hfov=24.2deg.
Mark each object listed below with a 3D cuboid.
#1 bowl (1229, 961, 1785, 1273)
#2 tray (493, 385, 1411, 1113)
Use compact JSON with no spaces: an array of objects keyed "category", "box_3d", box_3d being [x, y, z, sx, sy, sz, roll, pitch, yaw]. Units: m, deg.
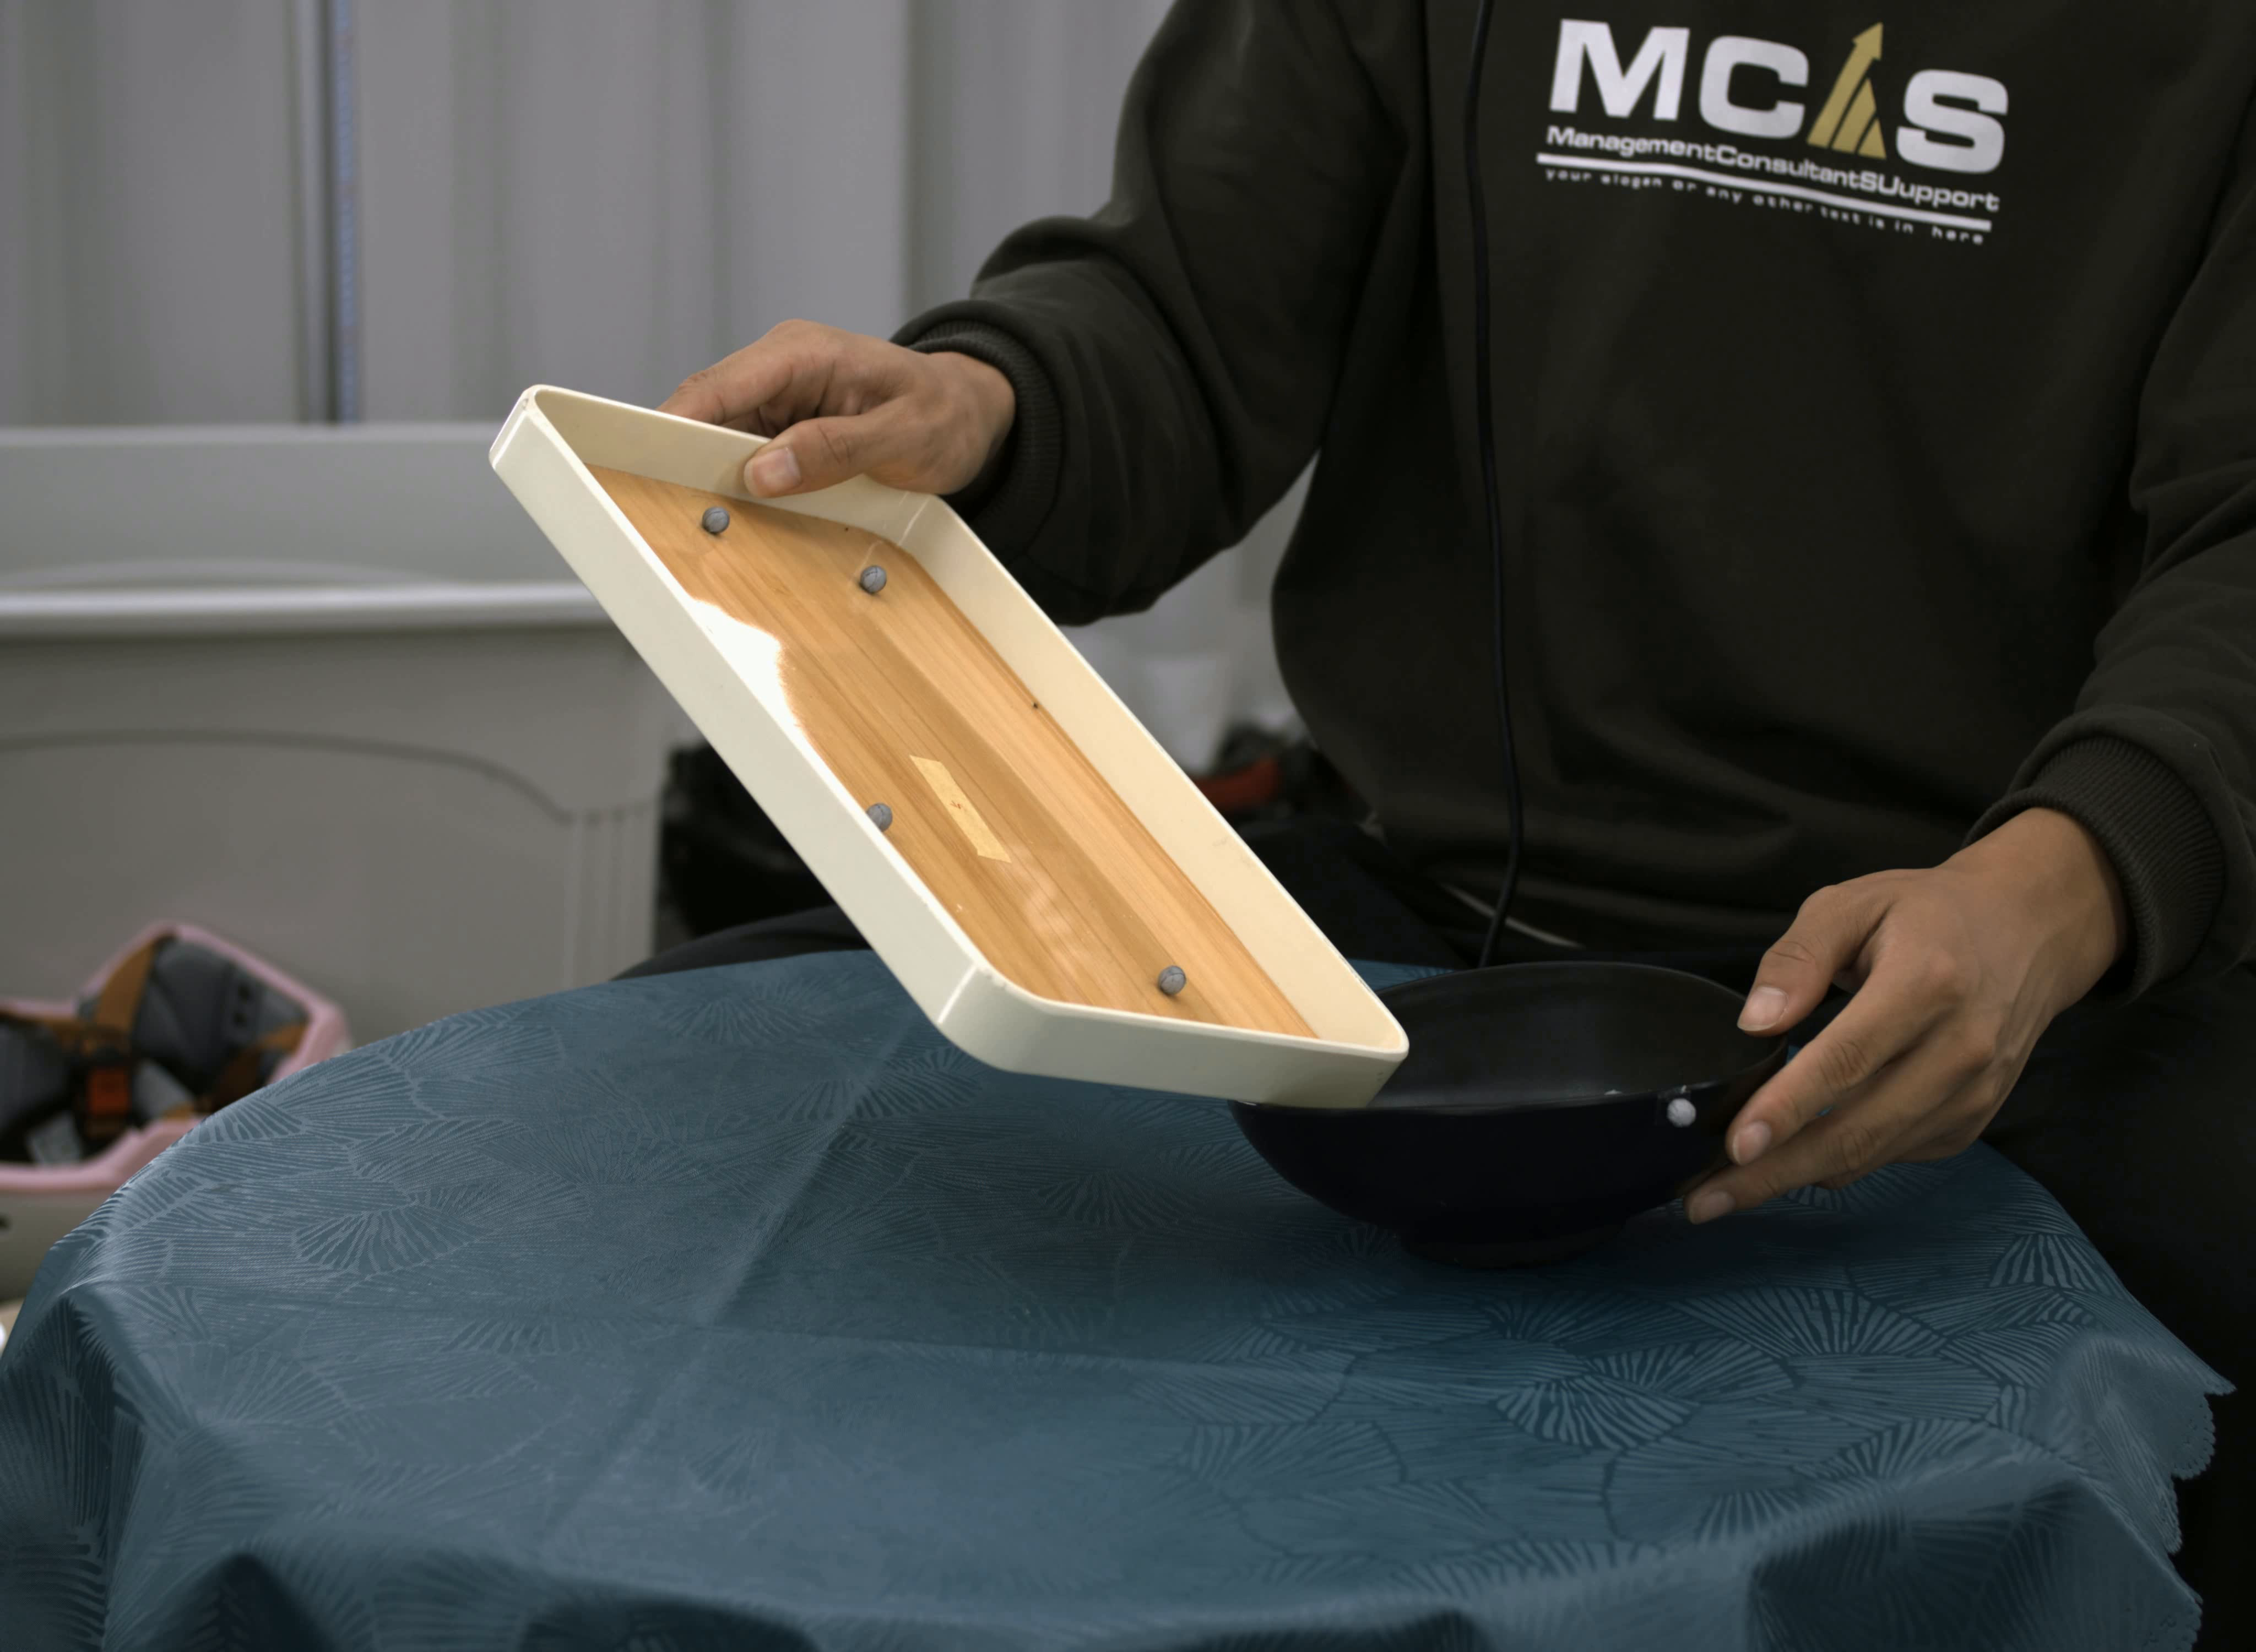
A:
[{"category":"bowl","box_3d":[0.114,0.093,1.583,0.169,0.067,0.137,-4,15,11]},{"category":"tray","box_3d":[-0.055,-0.024,1.605,0.193,0.027,0.296,10,32,-49]}]
